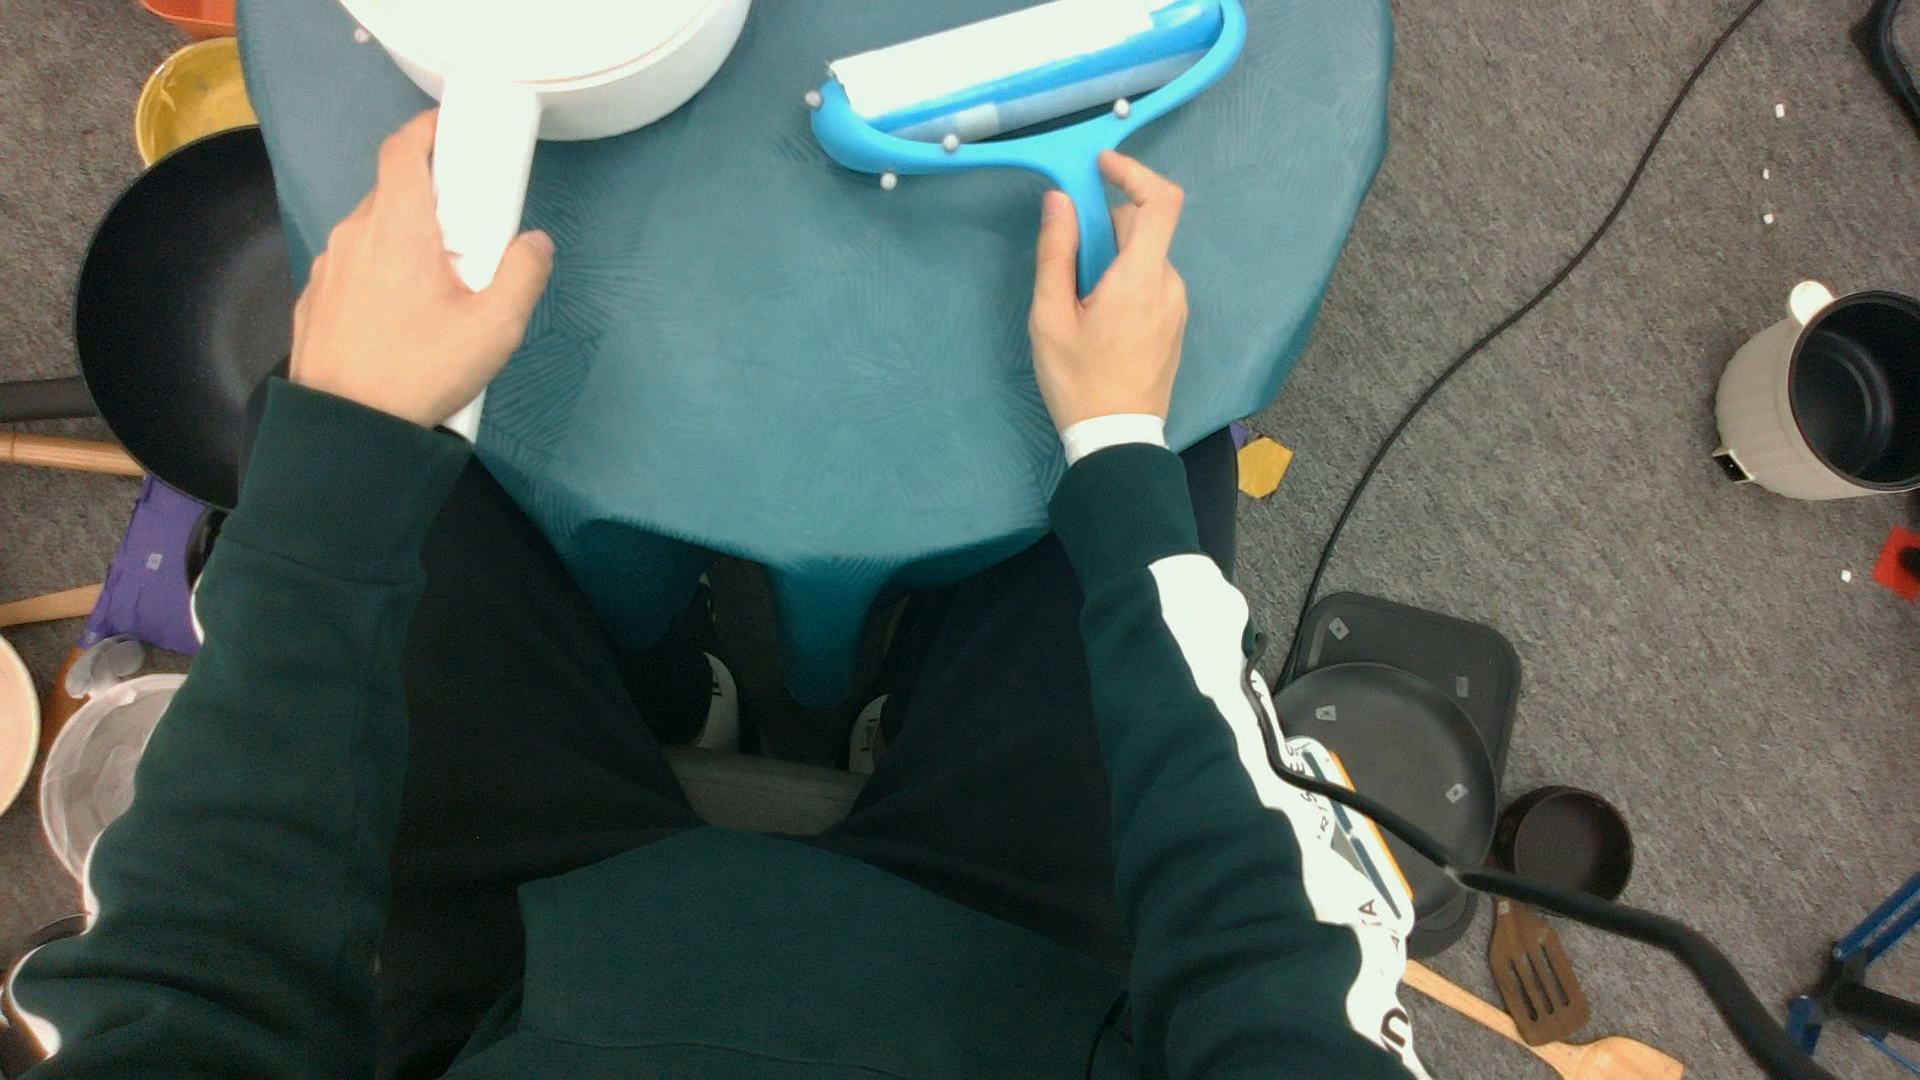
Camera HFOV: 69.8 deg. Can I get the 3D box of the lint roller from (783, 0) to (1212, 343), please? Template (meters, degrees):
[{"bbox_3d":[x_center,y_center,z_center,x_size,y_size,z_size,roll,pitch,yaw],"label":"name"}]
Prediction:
[{"bbox_3d":[0.042,-0.193,0.702,0.229,0.068,0.180,-22,87,-11],"label":"lint roller"}]

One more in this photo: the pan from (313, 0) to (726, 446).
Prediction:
[{"bbox_3d":[-0.220,-0.217,0.647,0.201,0.102,0.355,9,85,-7],"label":"pan"}]
